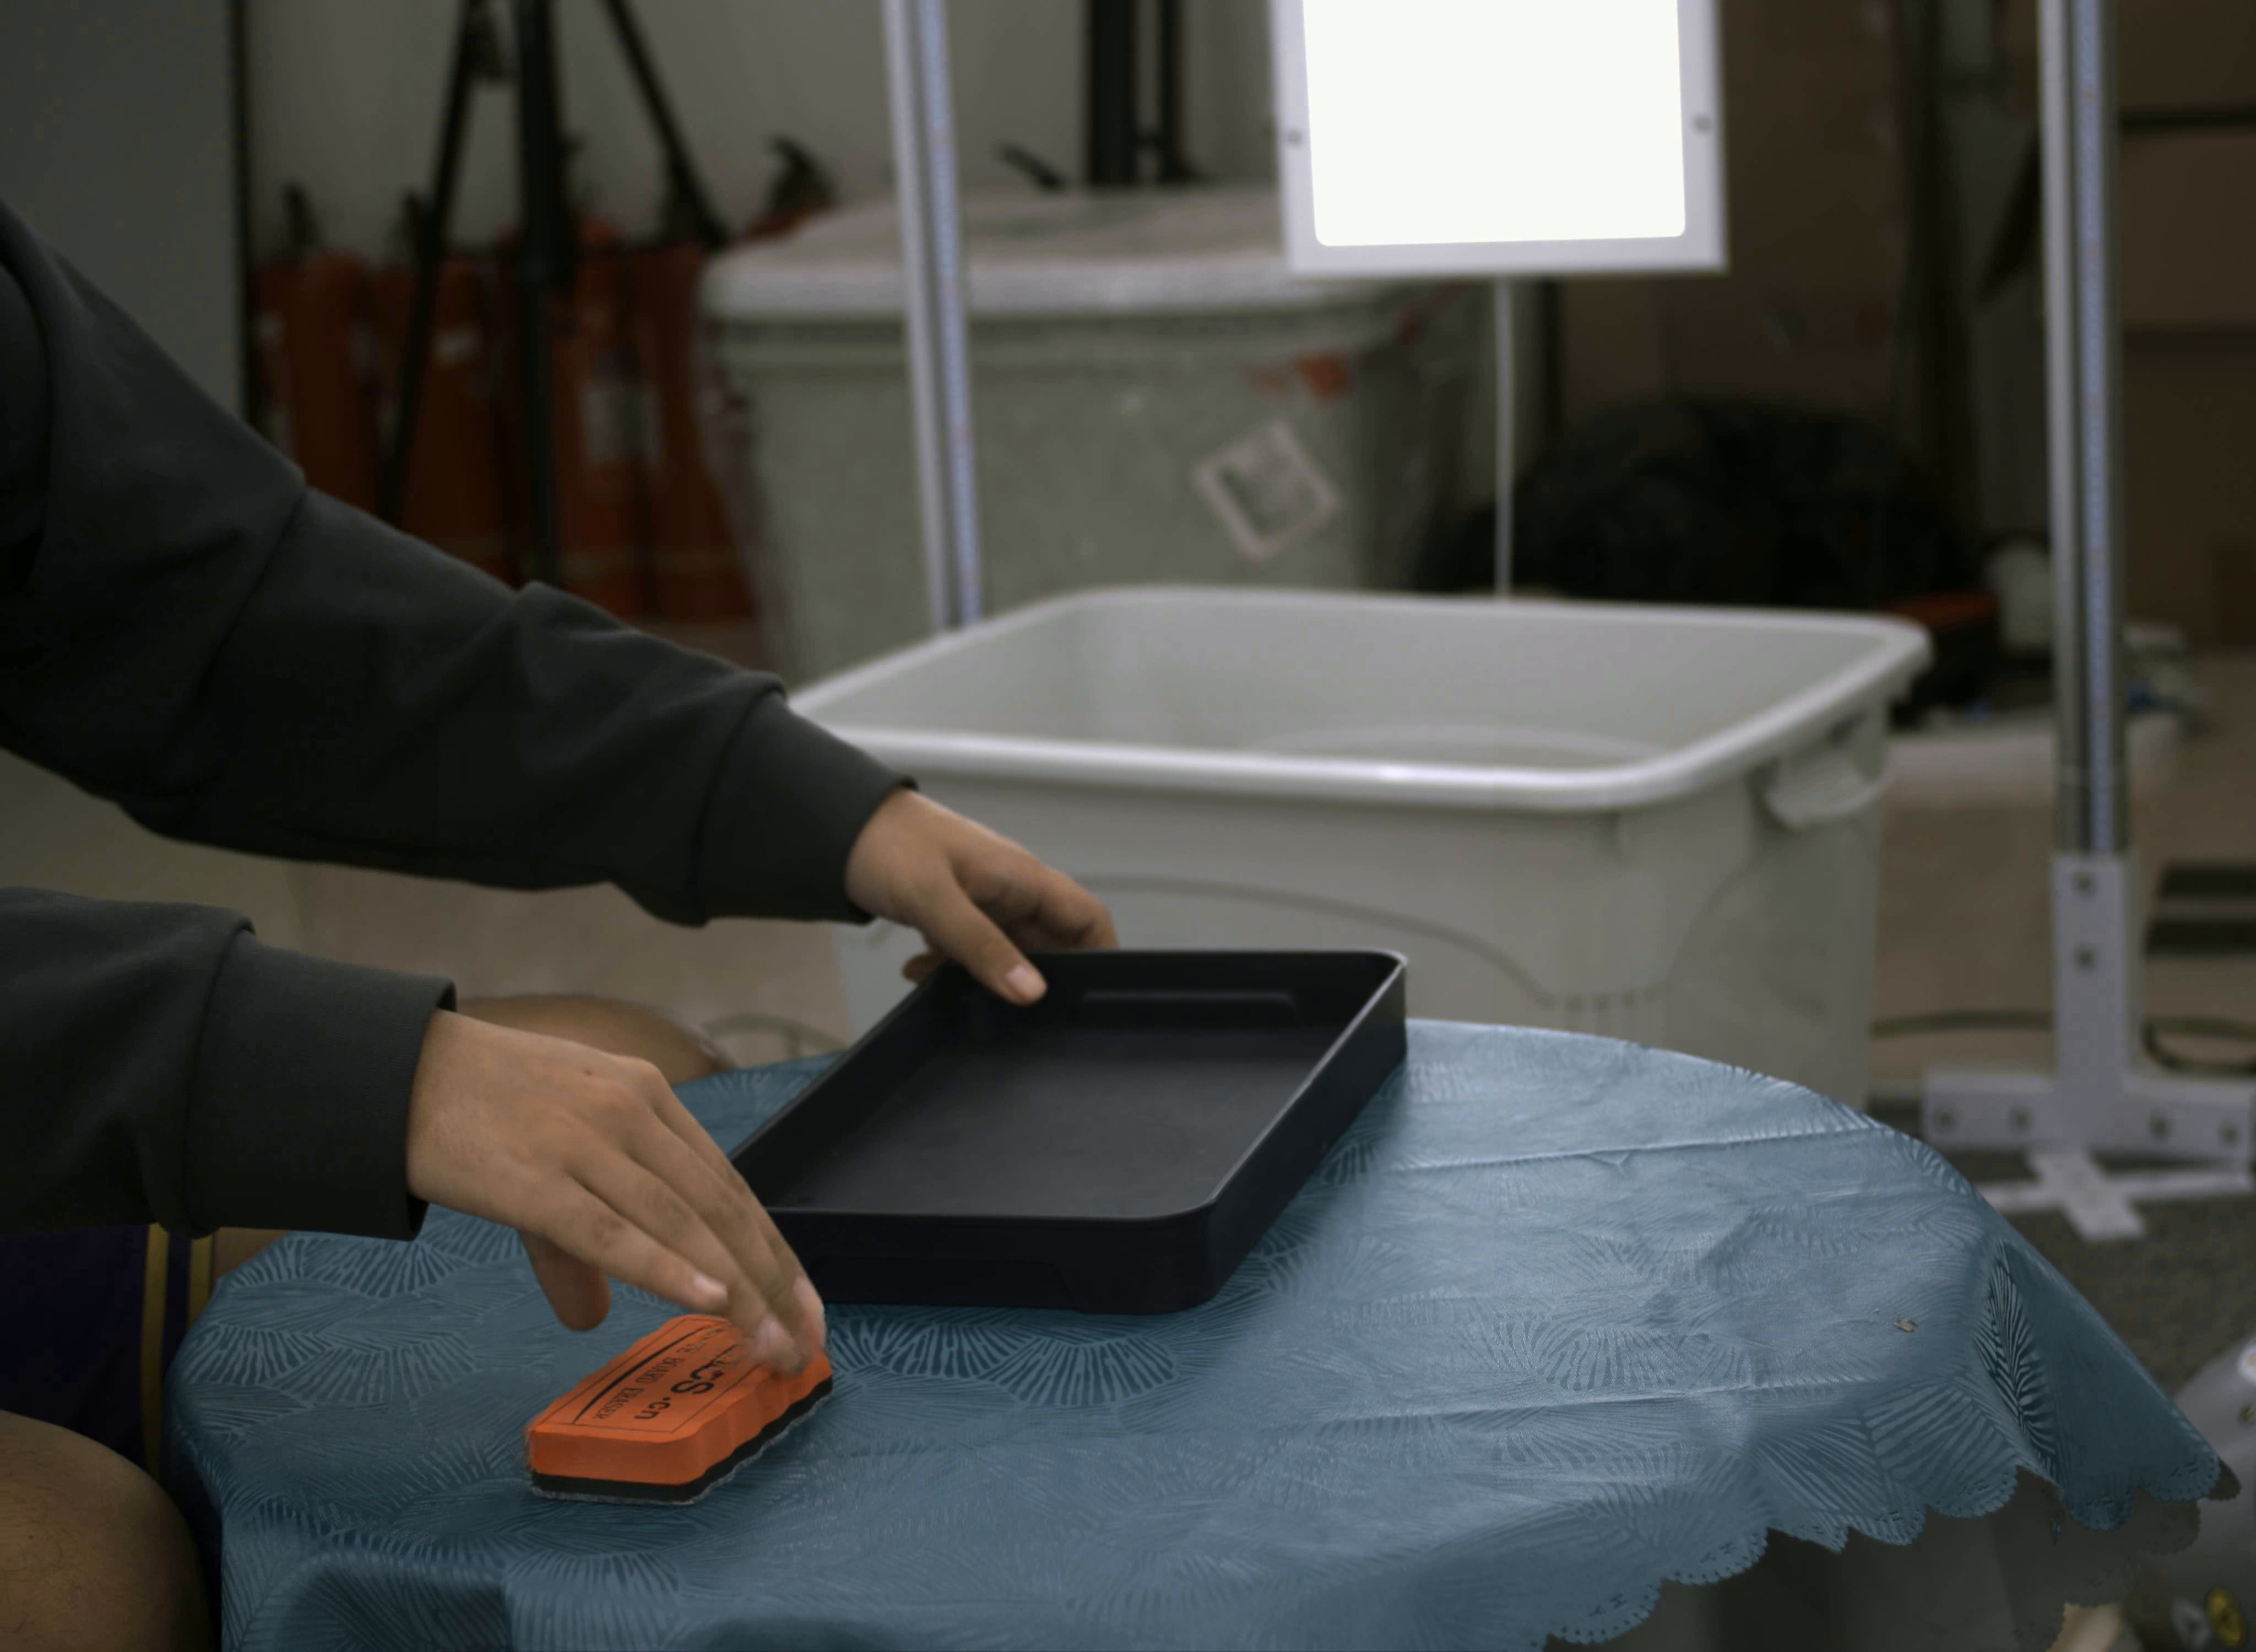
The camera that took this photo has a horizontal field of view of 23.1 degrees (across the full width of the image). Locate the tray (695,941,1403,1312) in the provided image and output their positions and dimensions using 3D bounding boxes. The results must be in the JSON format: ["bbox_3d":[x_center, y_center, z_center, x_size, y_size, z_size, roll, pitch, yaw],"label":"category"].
[{"bbox_3d":[-0.019,0.101,1.935,0.186,0.037,0.313,-1,15,17],"label":"tray"}]

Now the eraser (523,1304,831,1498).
[{"bbox_3d":[-0.137,0.175,1.687,0.060,0.023,0.106,-7,13,26],"label":"eraser"}]
